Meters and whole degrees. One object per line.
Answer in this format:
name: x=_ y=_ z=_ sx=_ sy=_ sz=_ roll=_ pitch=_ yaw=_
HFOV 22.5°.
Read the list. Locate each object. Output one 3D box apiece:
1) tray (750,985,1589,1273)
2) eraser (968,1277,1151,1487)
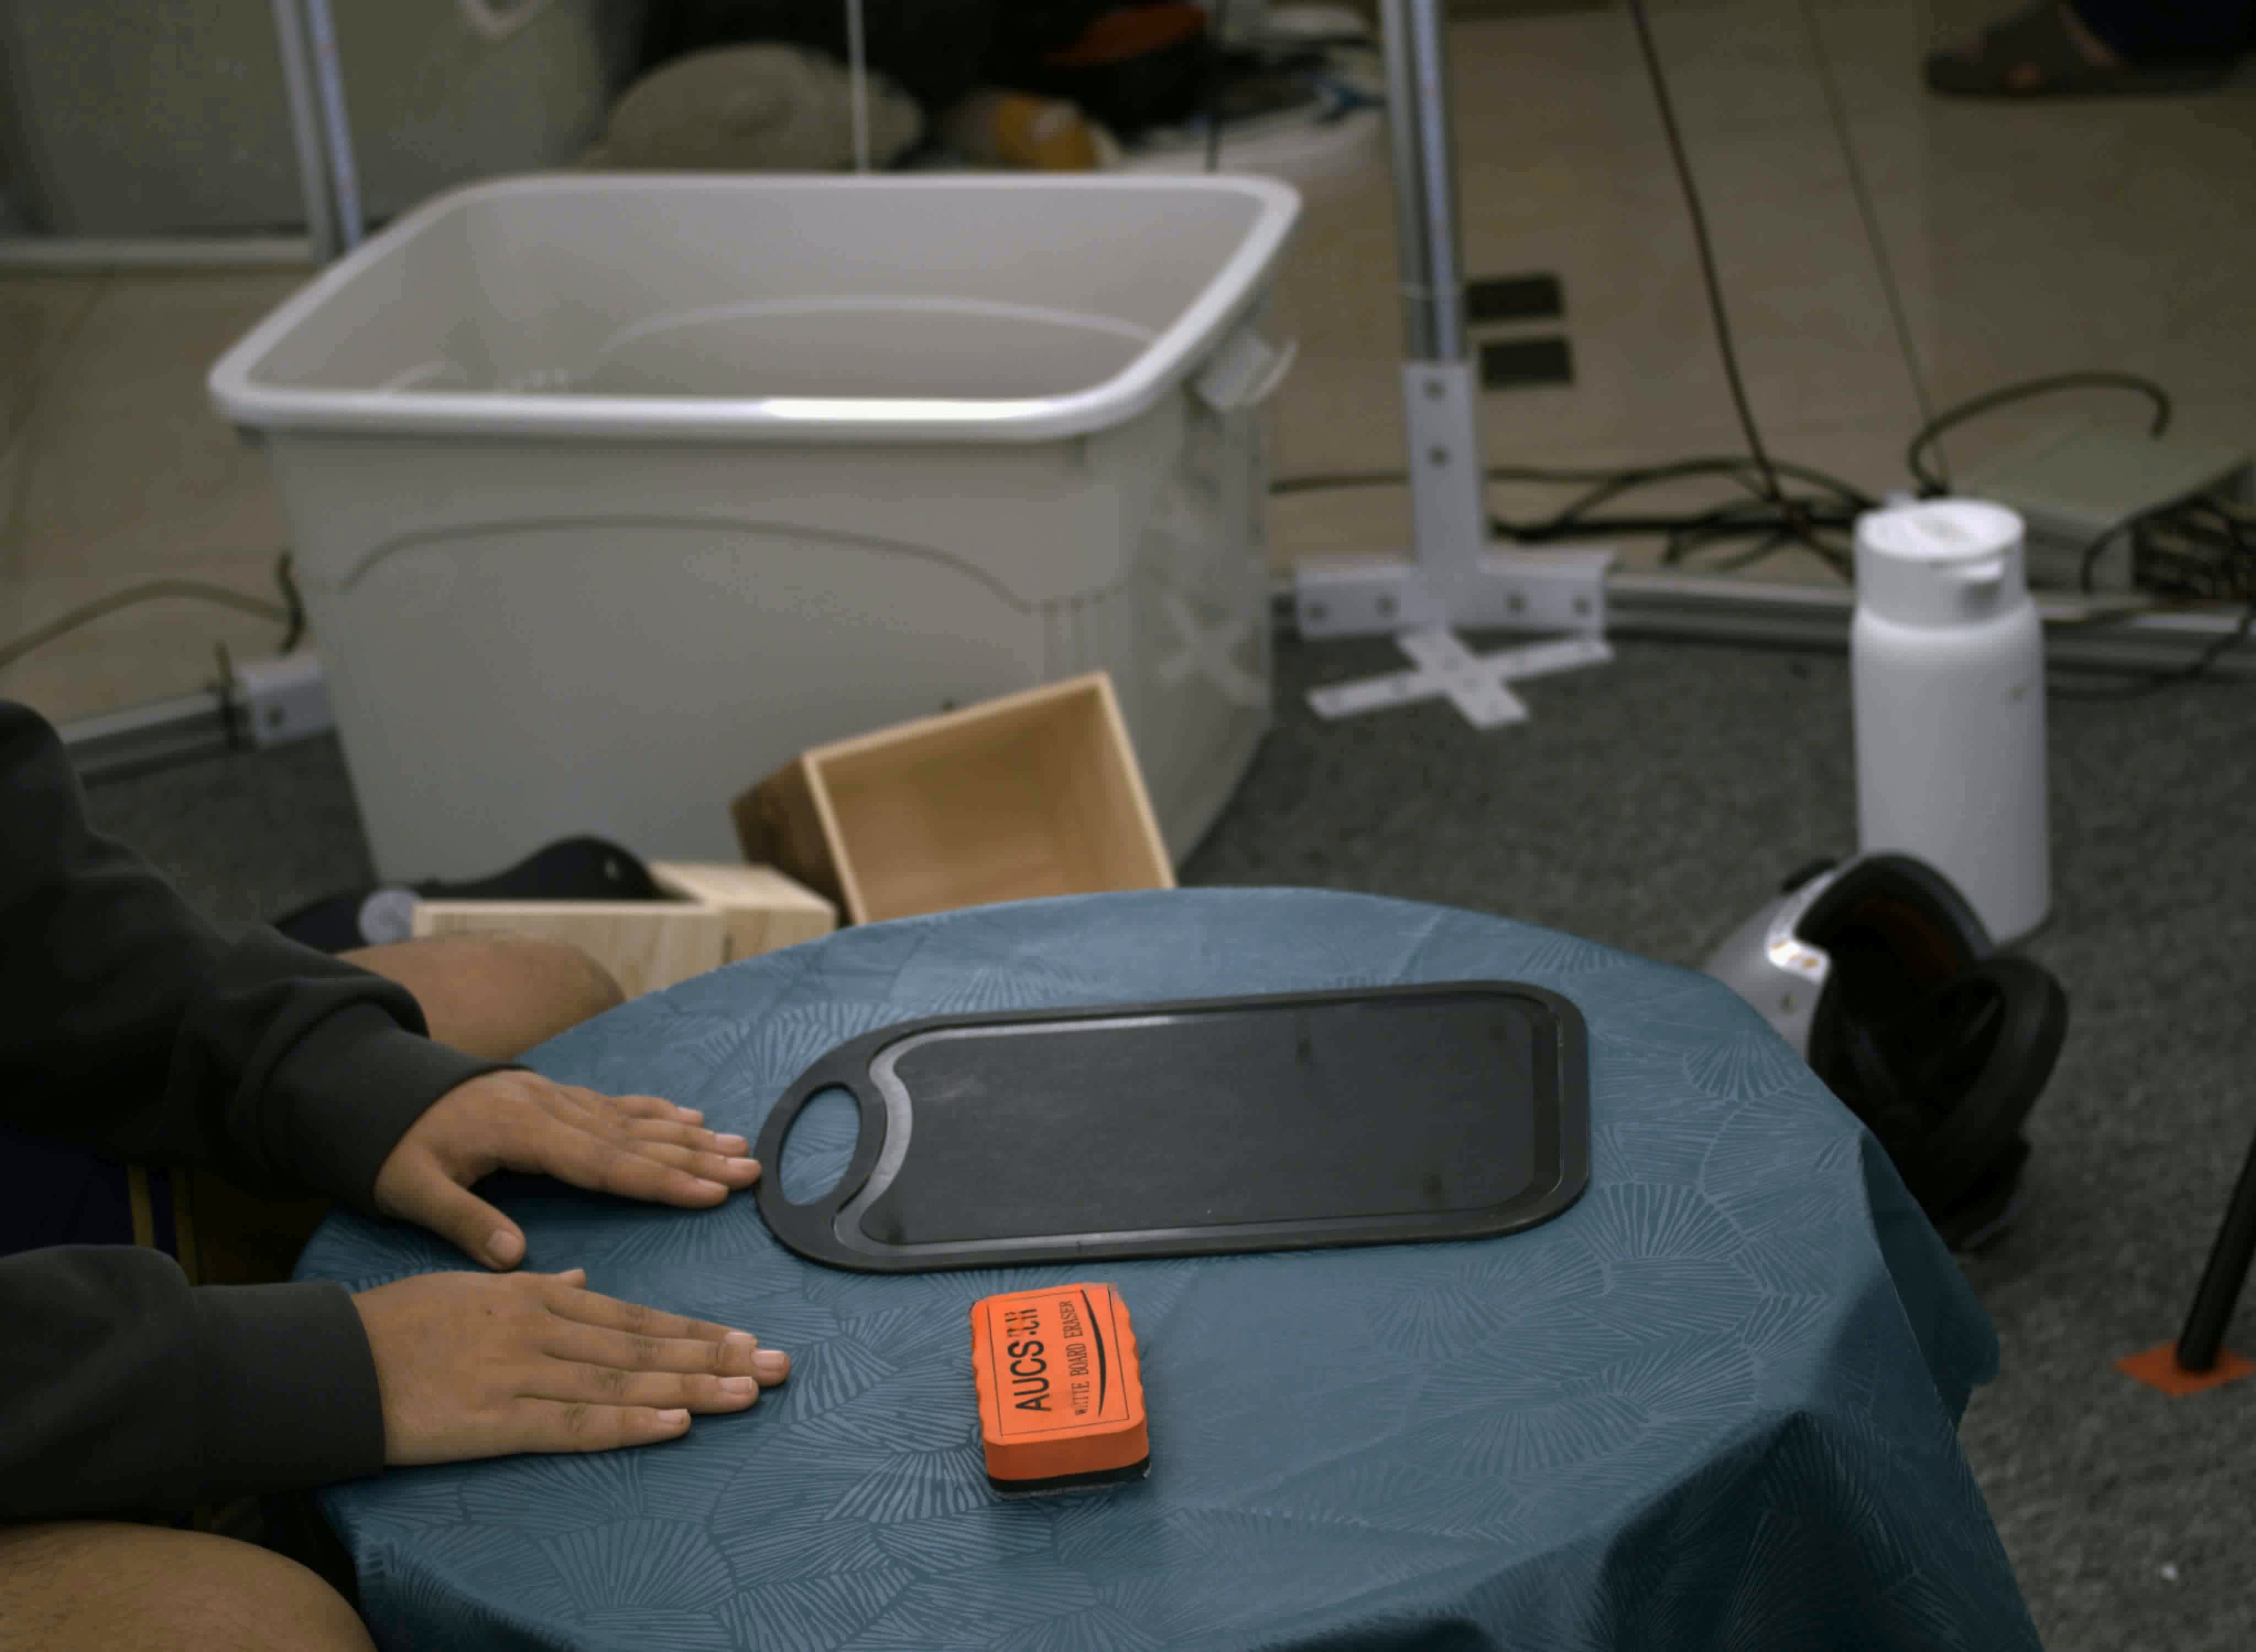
tray: x=0.015 y=0.114 z=2.189 sx=0.325 sy=0.010 sz=0.208 roll=-4 pitch=25 yaw=6
eraser: x=-0.025 y=0.195 z=1.998 sx=0.059 sy=0.023 sz=0.106 roll=-6 pitch=23 yaw=-2
